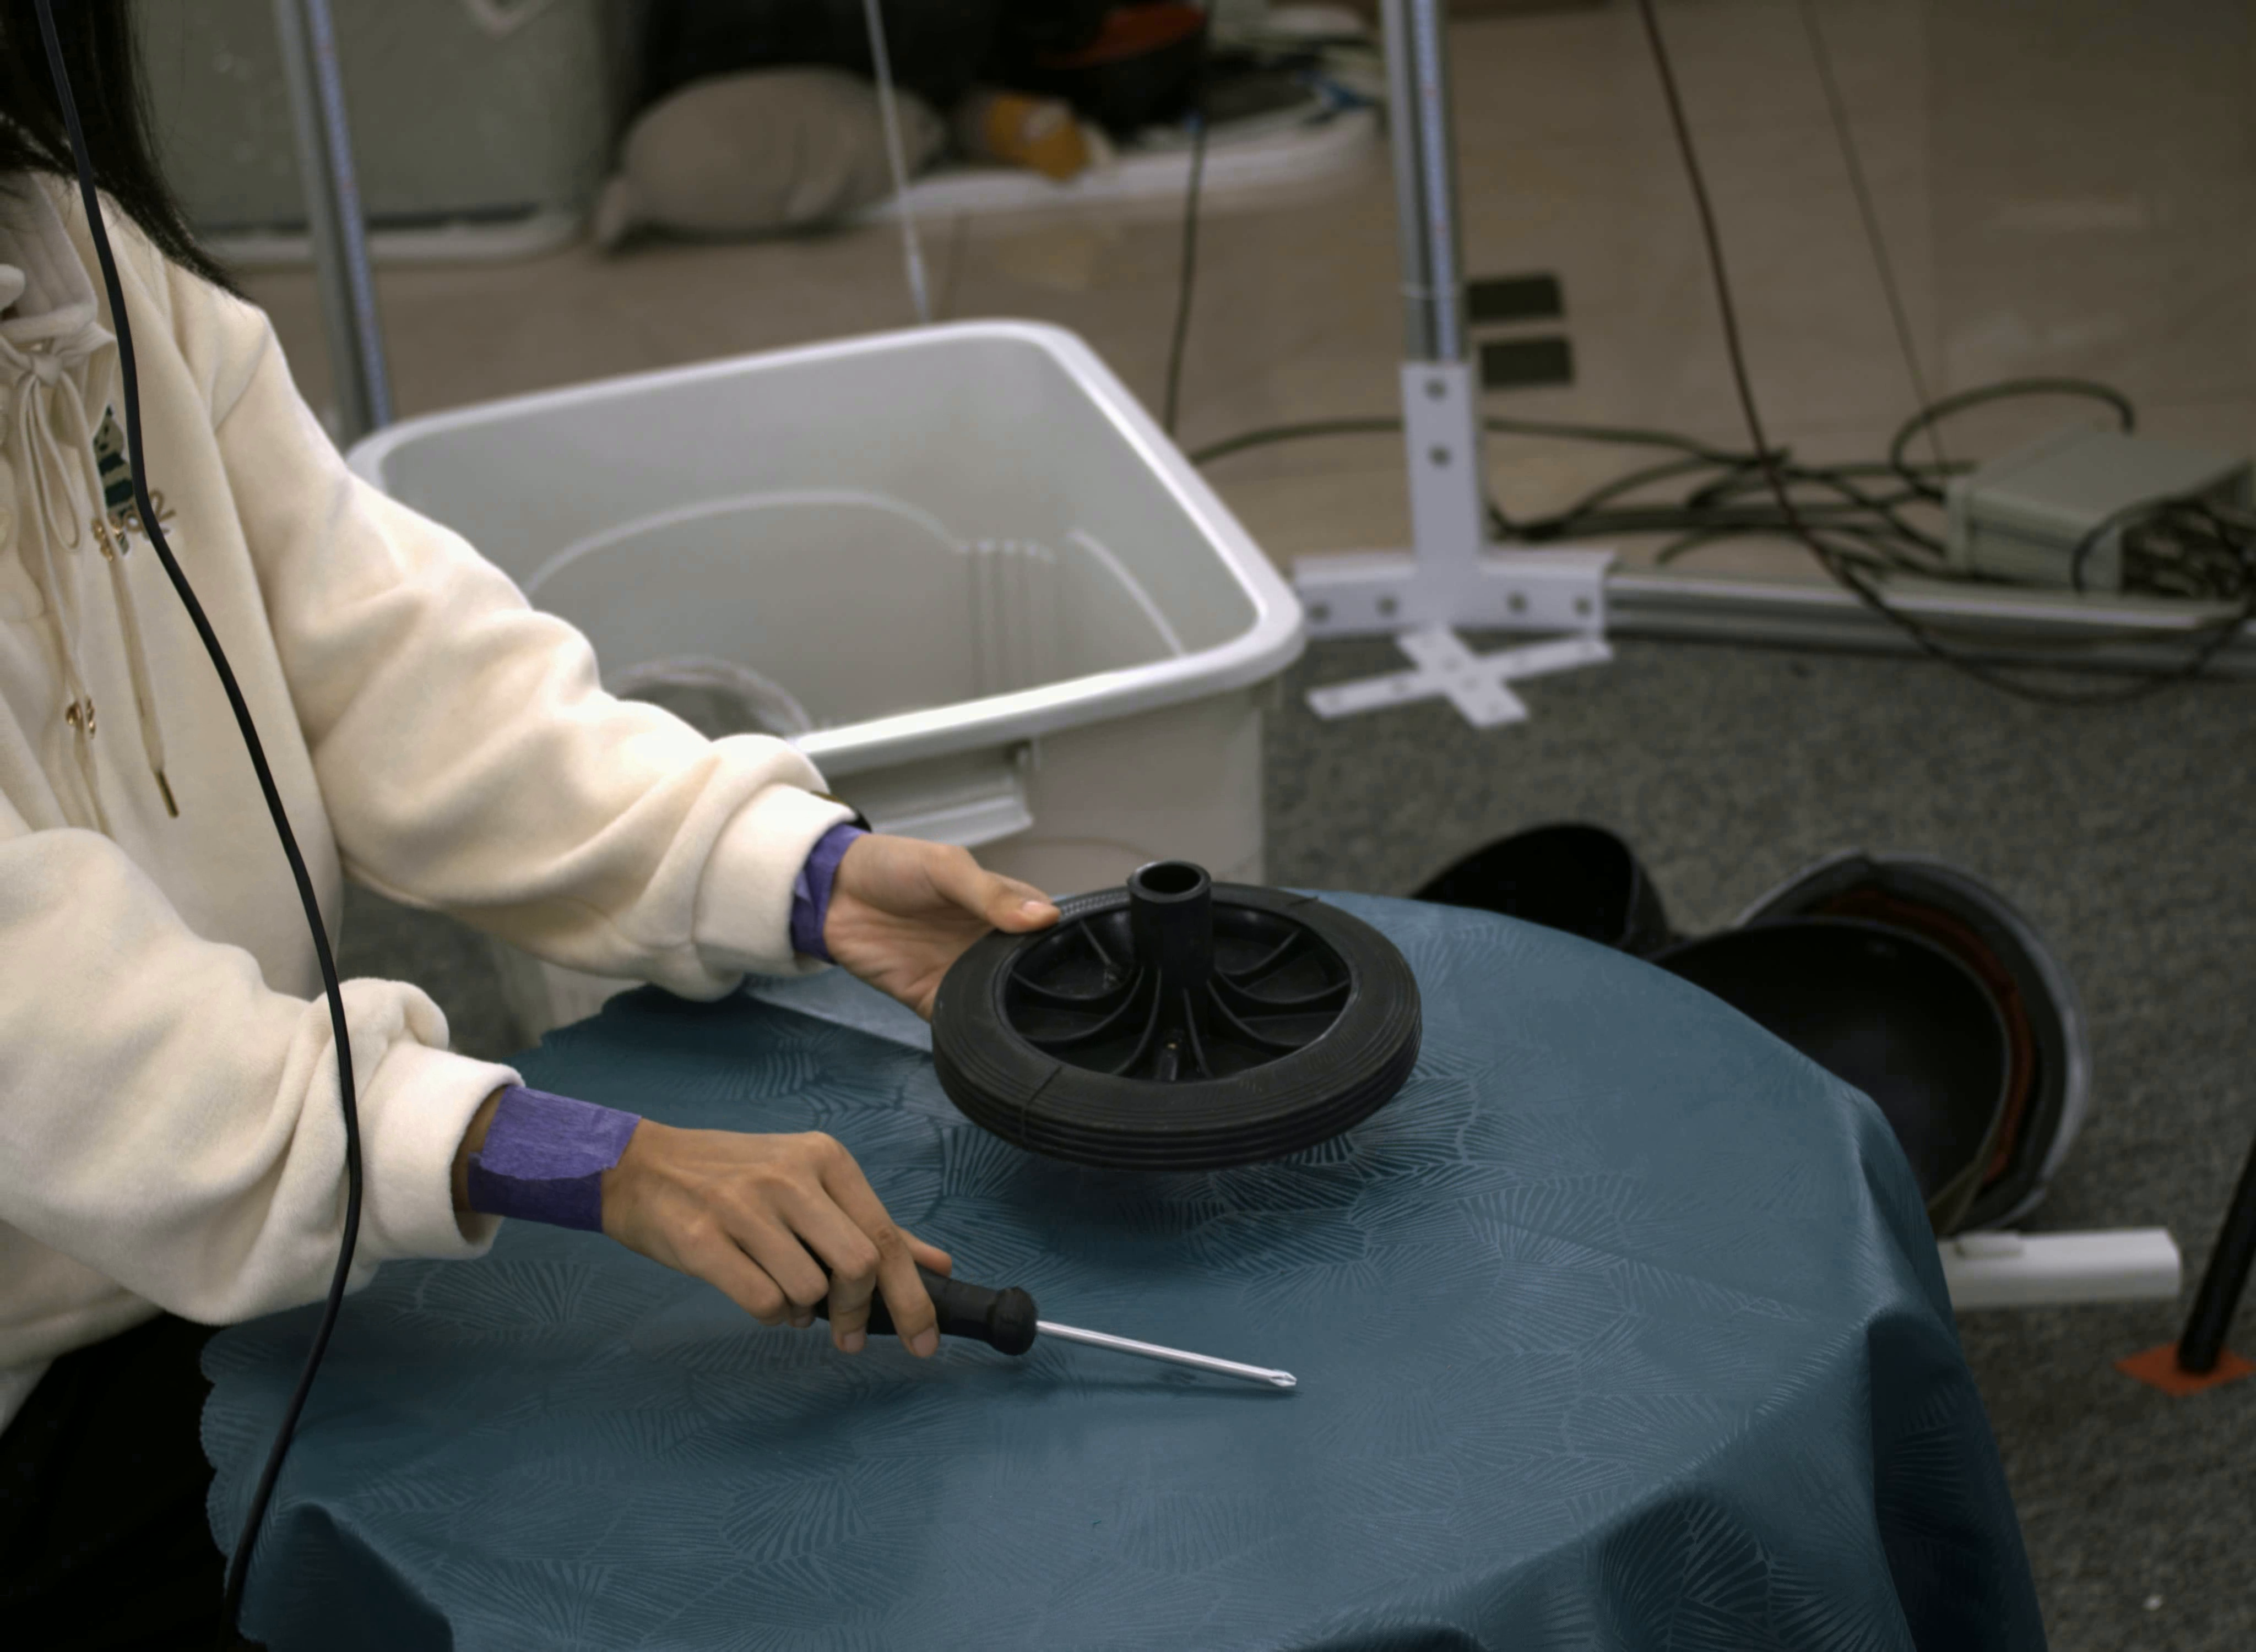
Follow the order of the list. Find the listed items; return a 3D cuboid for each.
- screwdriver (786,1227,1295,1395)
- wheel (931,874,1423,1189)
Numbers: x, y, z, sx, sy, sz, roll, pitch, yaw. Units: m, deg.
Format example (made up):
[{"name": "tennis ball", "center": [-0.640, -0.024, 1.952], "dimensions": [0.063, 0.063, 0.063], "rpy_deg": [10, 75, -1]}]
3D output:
[{"name": "screwdriver", "center": [-0.030, 0.174, 2.030], "dimensions": [0.195, 0.032, 0.031], "rpy_deg": [11, 29, 15]}, {"name": "wheel", "center": [0.018, 0.060, 2.152], "dimensions": [0.187, 0.080, 0.187], "rpy_deg": [-11, 32, -13]}]
